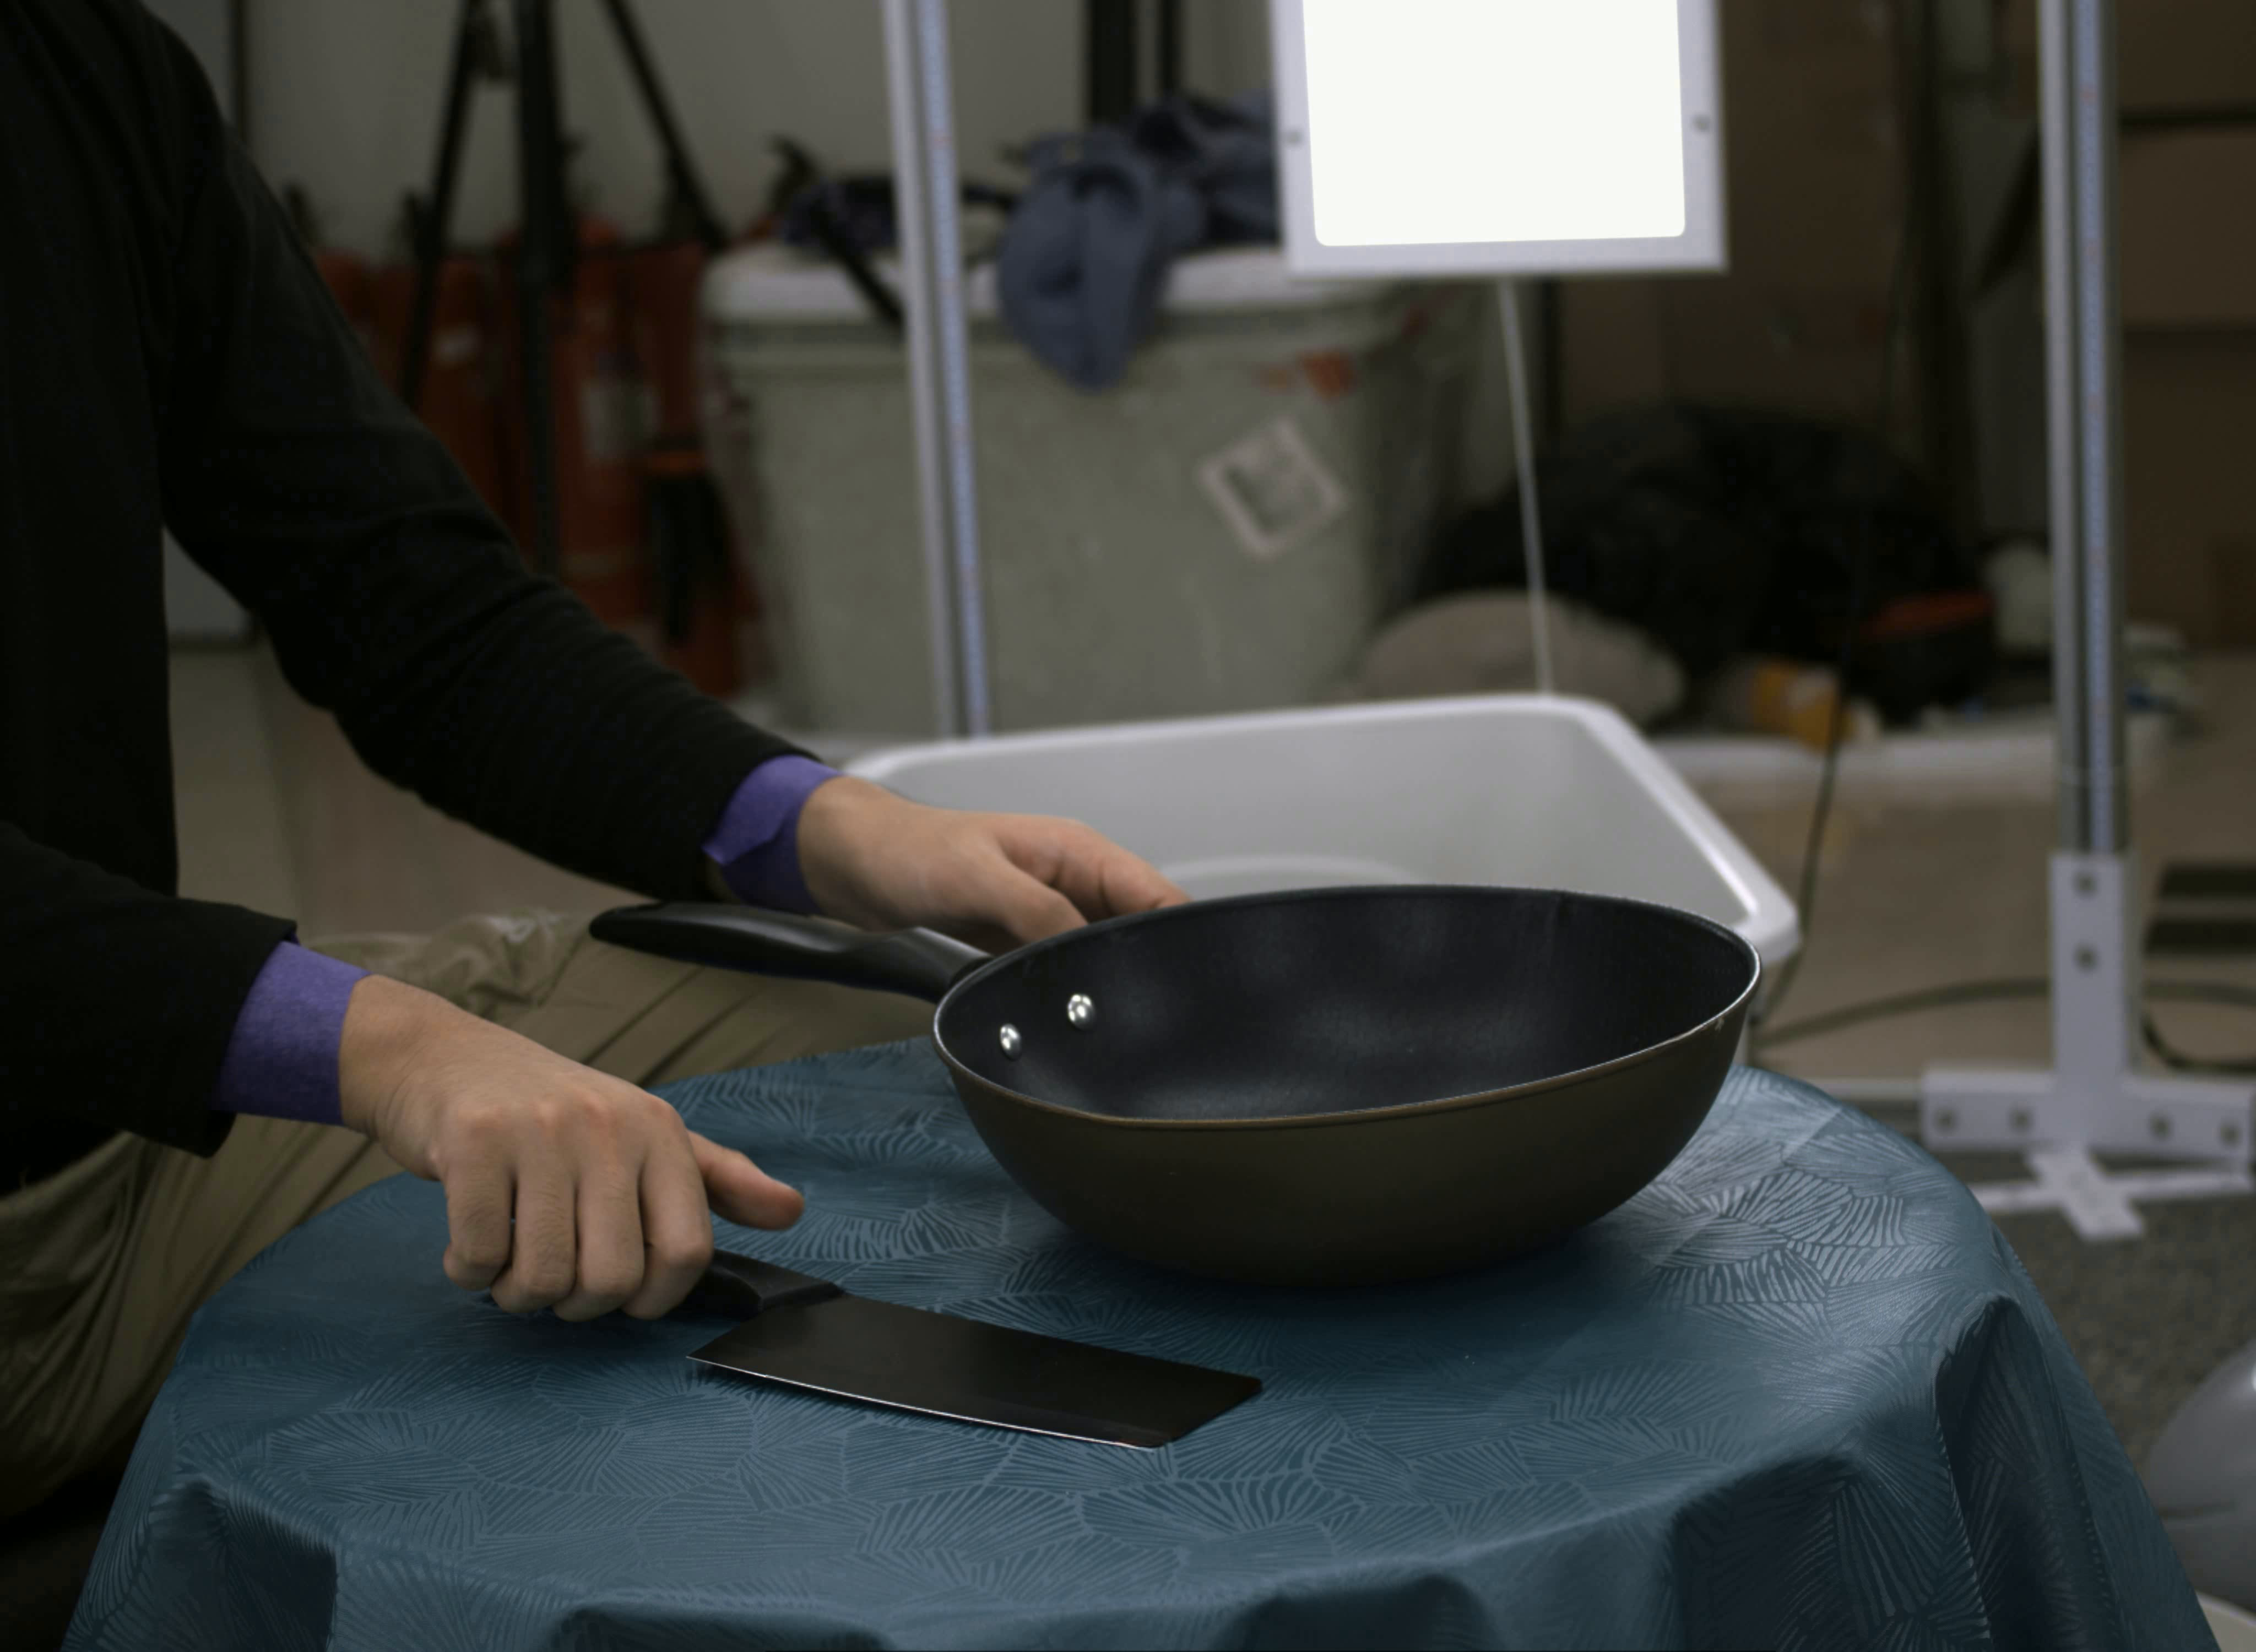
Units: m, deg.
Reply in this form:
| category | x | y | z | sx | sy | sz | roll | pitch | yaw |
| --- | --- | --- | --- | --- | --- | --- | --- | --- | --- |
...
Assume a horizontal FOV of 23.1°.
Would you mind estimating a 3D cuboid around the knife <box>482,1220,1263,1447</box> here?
| category | x | y | z | sx | sy | sz | roll | pitch | yaw |
| --- | --- | --- | --- | --- | --- | --- | --- | --- | --- |
| knife | -0.093 | 0.162 | 1.762 | 0.309 | 0.021 | 0.079 | 10 | 21 | 41 |

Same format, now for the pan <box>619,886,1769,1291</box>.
| category | x | y | z | sx | sy | sz | roll | pitch | yaw |
| --- | --- | --- | --- | --- | --- | --- | --- | --- | --- |
| pan | 0.003 | 0.085 | 1.893 | 0.473 | 0.087 | 0.281 | 5 | 17 | 37 |
